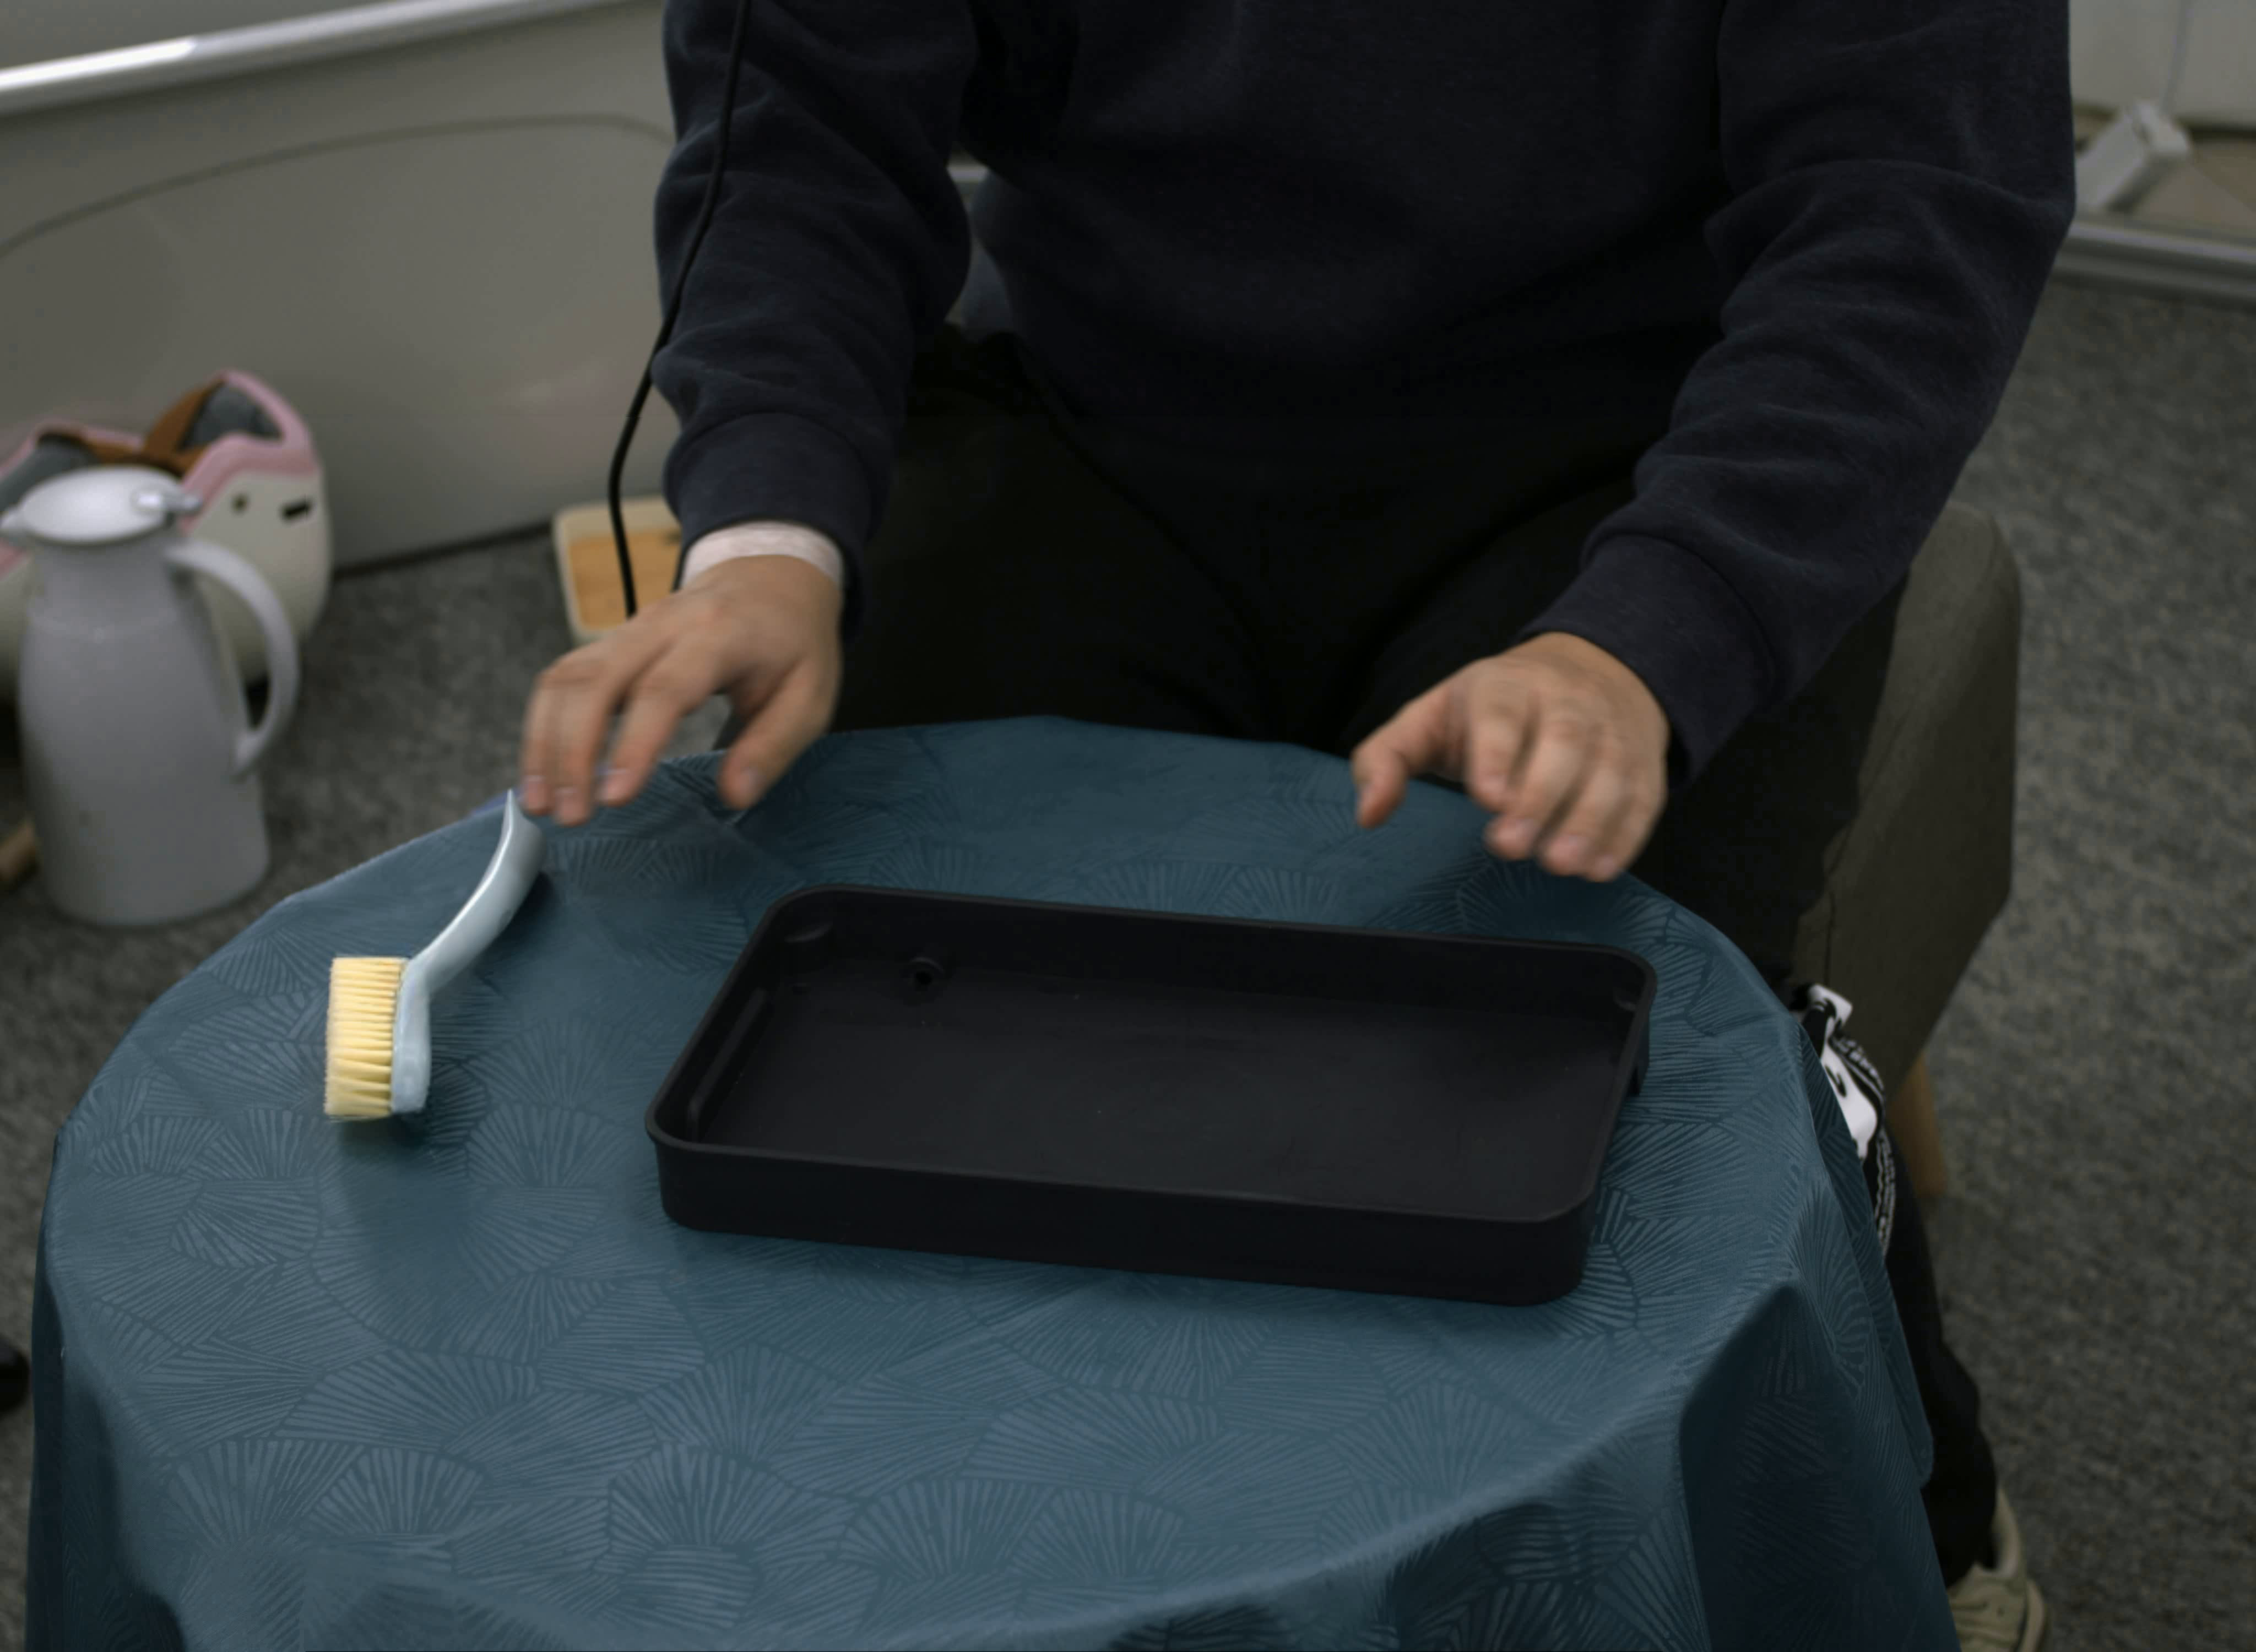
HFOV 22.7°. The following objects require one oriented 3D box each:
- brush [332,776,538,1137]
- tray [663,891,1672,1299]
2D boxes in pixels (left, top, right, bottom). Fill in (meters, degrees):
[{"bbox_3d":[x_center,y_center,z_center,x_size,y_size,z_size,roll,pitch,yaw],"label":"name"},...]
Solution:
[{"bbox_3d":[-0.249,0.041,2.001,0.049,0.037,0.232,6,28,3],"label":"brush"},{"bbox_3d":[0.017,0.088,1.890,0.316,0.036,0.187,3,27,12],"label":"tray"}]
